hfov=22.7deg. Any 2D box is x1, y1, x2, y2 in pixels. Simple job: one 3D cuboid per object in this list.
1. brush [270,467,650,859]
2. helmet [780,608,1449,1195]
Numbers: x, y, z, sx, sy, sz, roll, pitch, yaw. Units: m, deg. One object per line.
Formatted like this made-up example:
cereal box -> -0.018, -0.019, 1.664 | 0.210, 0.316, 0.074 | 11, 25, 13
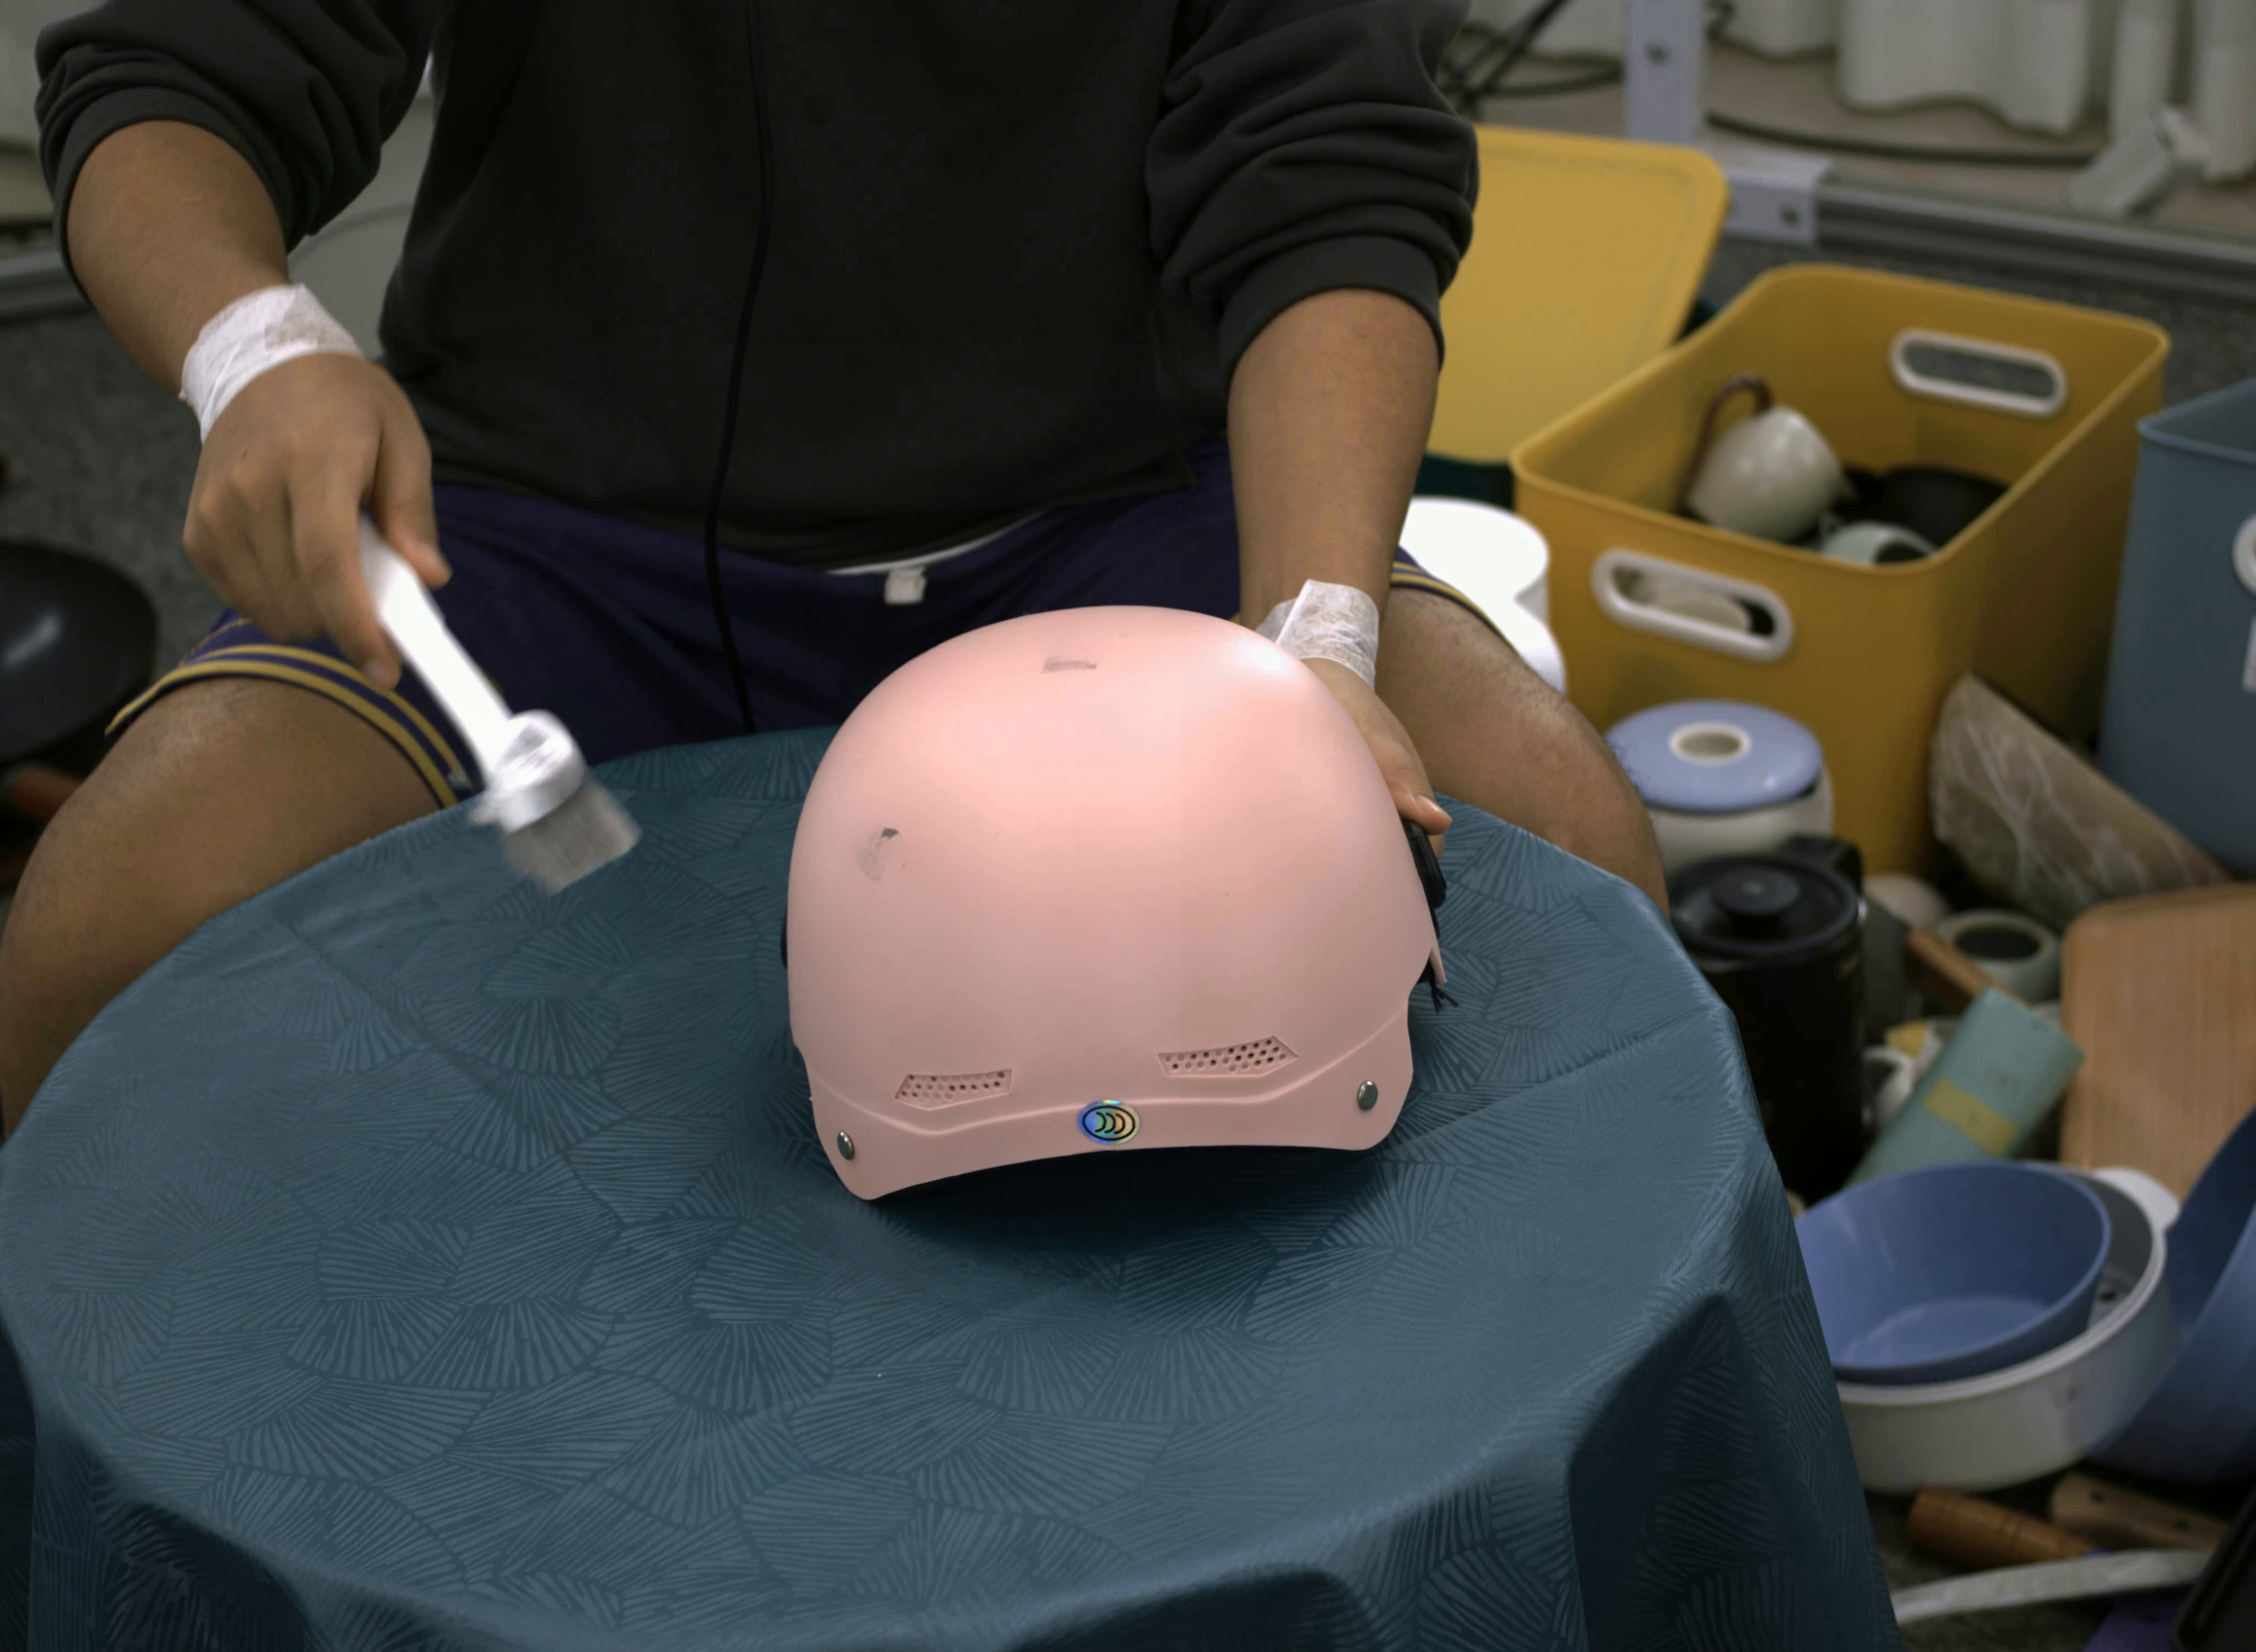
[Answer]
brush -> -0.219, -0.053, 1.830 | 0.034, 0.049, 0.245 | -32, 37, -14
helmet -> -0.012, 0.005, 1.911 | 0.233, 0.157, 0.269 | -7, 23, 5
